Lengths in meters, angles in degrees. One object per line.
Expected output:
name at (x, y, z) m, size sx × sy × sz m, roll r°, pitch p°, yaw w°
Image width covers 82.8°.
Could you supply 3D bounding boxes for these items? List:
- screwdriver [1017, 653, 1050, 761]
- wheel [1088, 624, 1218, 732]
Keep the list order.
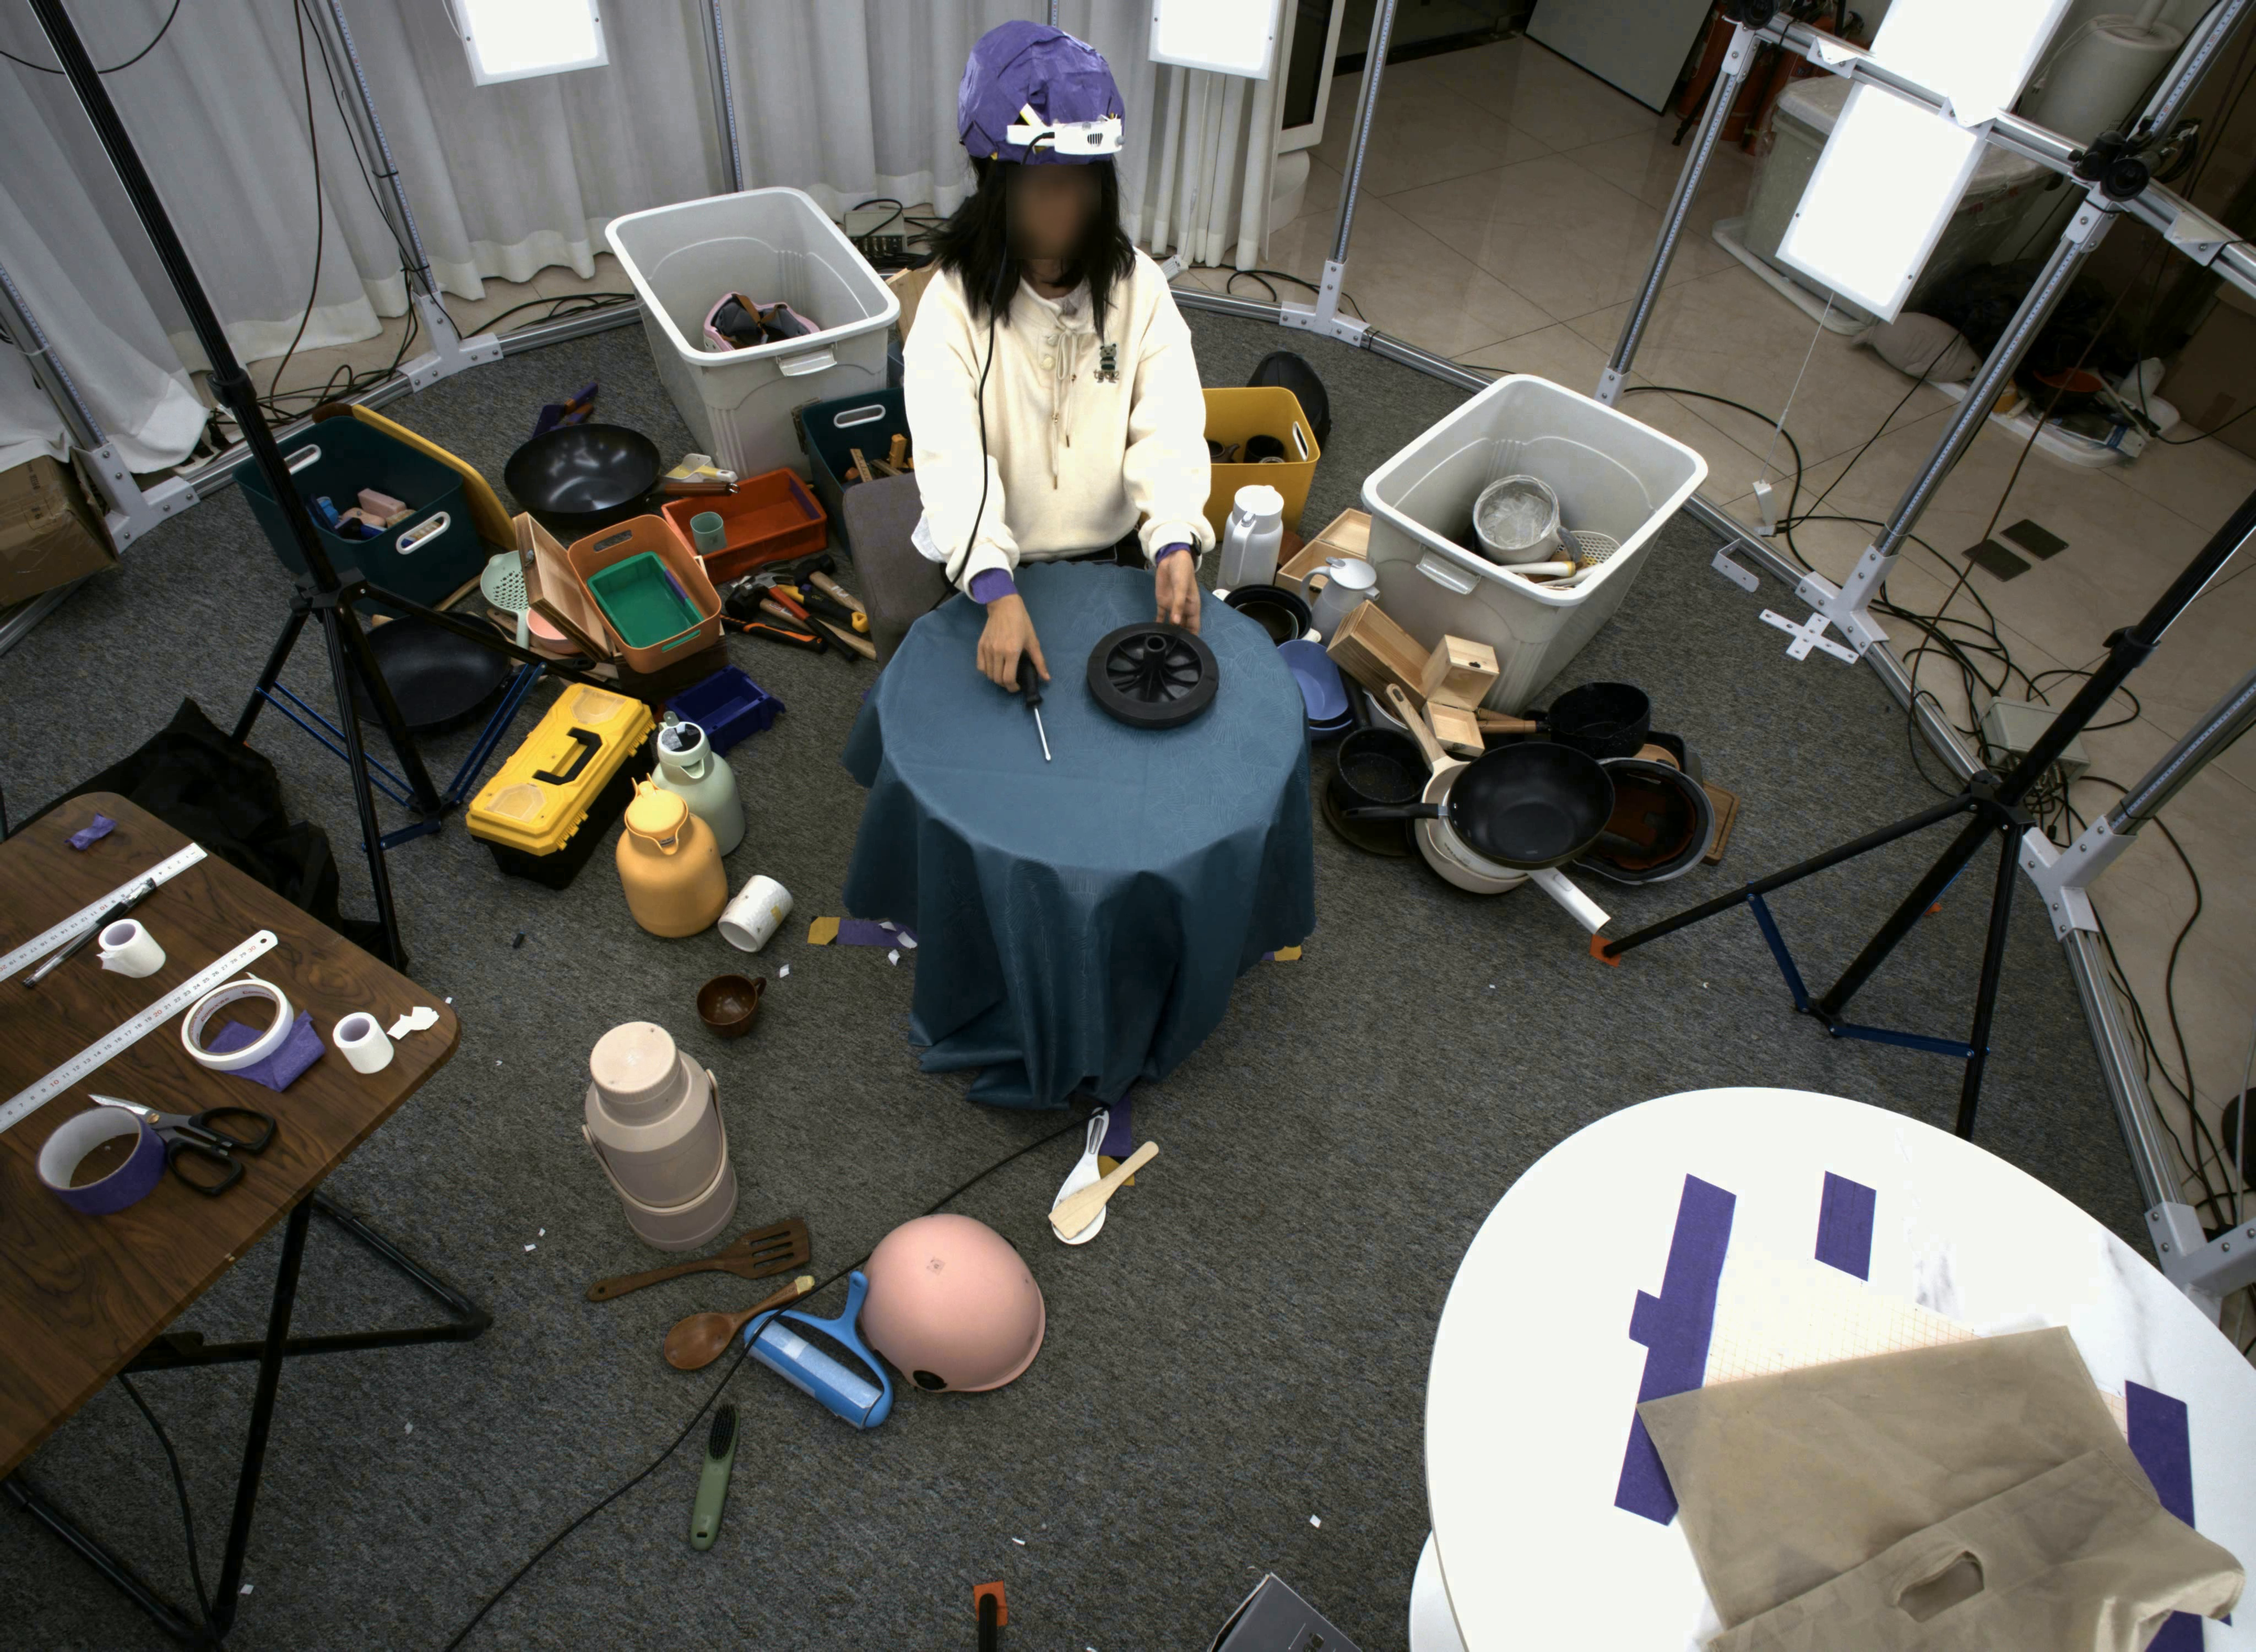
screwdriver at (-0.125, -0.168, 1.792) m, size 0.031 × 0.031 × 0.201 m, roll -9°, pitch 52°, yaw -13°
wheel at (0.035, -0.226, 1.819) m, size 0.191 × 0.077 × 0.190 m, roll -36°, pitch 62°, yaw -22°
